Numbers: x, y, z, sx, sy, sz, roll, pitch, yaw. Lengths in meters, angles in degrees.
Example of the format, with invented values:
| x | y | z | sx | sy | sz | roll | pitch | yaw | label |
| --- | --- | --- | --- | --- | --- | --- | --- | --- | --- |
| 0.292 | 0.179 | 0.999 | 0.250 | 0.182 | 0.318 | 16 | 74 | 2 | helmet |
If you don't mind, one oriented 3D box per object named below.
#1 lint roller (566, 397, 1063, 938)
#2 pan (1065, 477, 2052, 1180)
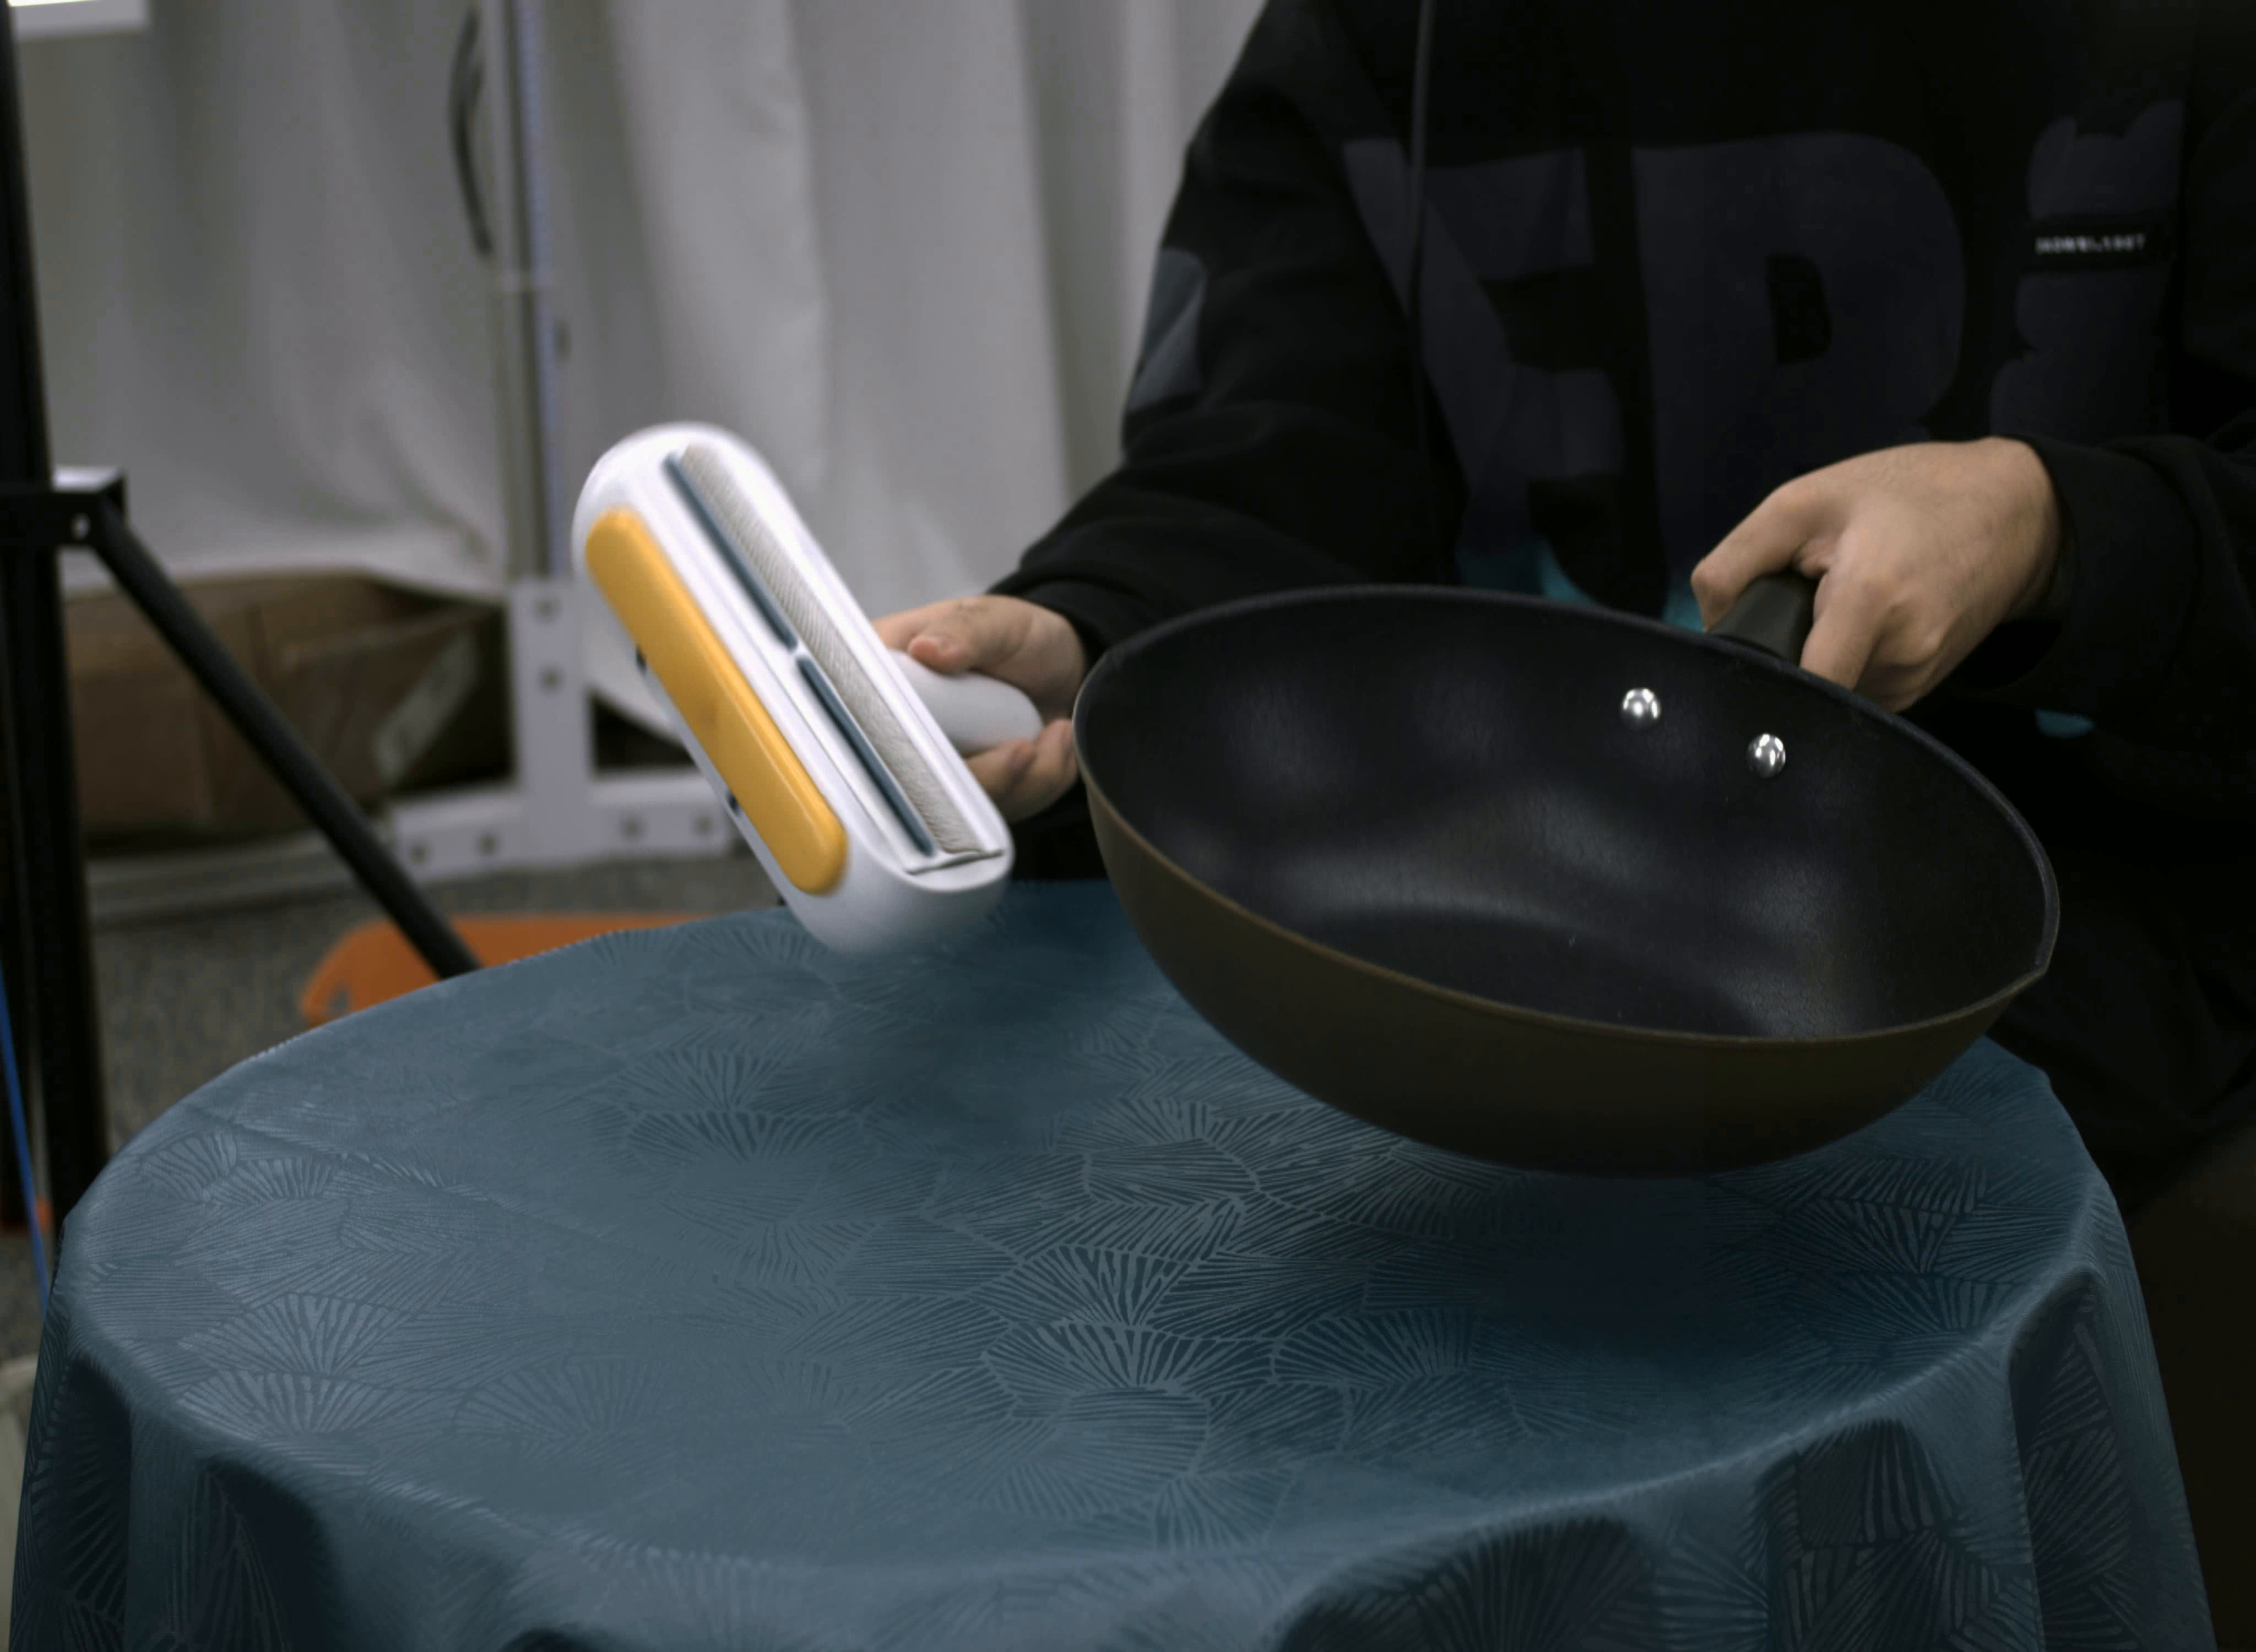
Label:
| x | y | z | sx | sy | sz | roll | pitch | yaw | label |
| --- | --- | --- | --- | --- | --- | --- | --- | --- | --- |
| -0.079 | -0.044 | 1.717 | 0.187 | 0.075 | 0.196 | 3 | 47 | -50 | lint roller |
| 0.155 | -0.006 | 1.580 | 0.292 | 0.087 | 0.457 | 20 | 28 | 21 | pan |
